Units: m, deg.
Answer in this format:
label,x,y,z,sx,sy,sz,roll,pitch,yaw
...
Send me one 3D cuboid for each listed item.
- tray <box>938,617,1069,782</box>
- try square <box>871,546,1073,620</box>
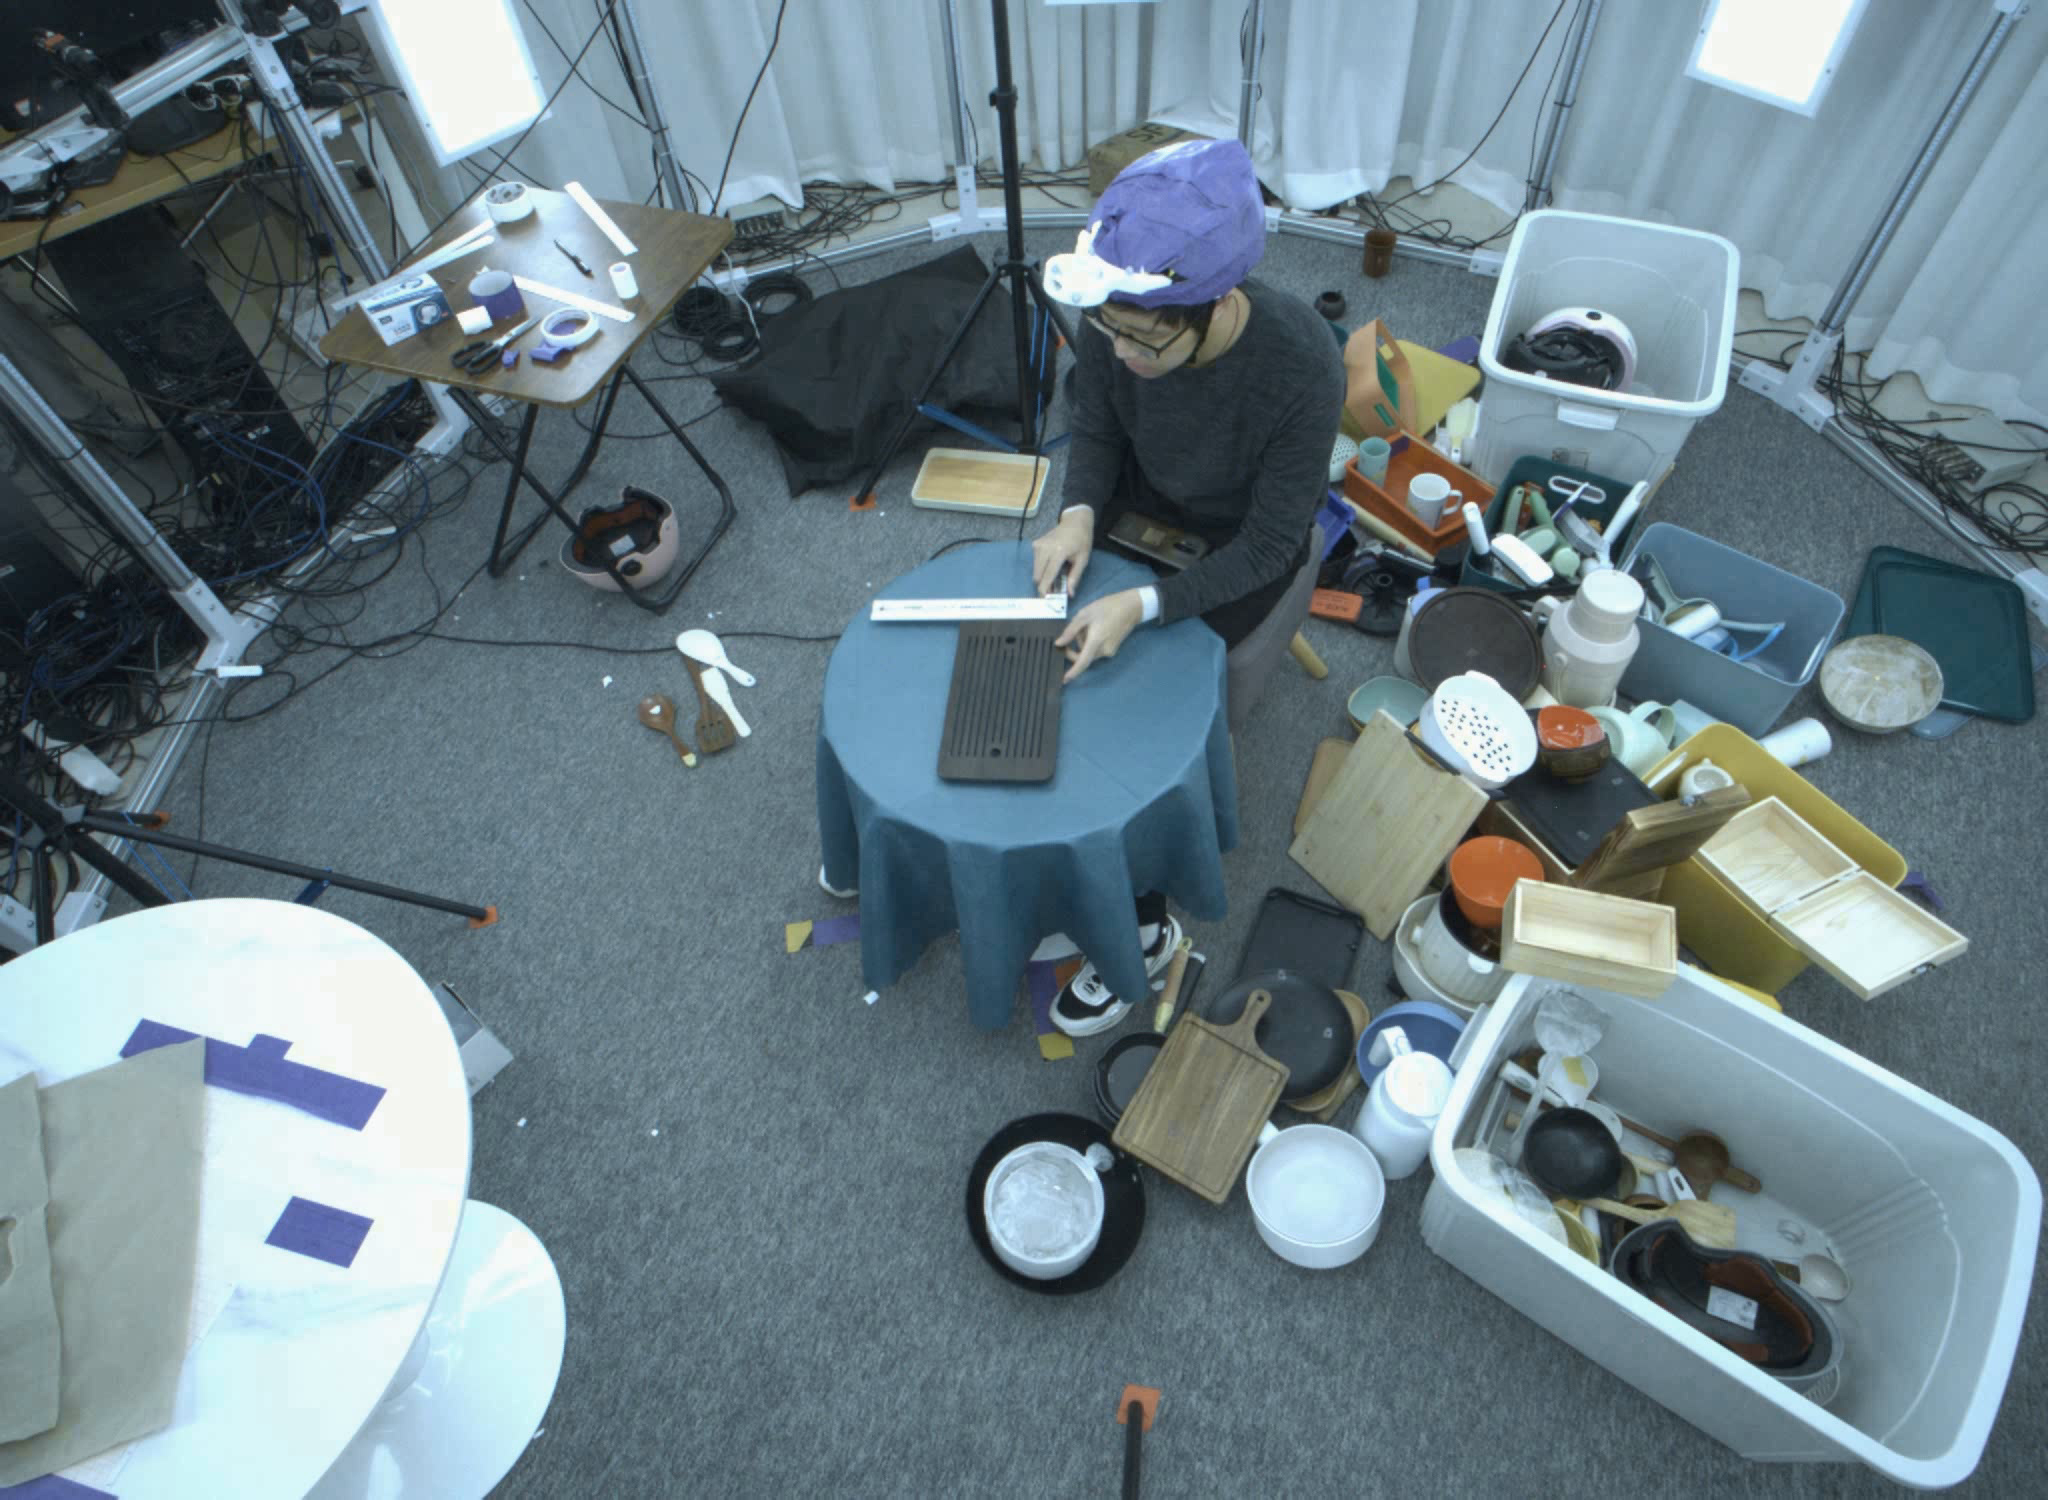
label,x,y,z,sx,sy,sz,roll,pitch,yaw
tray,-0.026,-0.078,1.830,0.169,0.019,0.303,2,55,6
try square,-0.081,-0.266,1.956,0.312,0.016,0.151,0,55,4
